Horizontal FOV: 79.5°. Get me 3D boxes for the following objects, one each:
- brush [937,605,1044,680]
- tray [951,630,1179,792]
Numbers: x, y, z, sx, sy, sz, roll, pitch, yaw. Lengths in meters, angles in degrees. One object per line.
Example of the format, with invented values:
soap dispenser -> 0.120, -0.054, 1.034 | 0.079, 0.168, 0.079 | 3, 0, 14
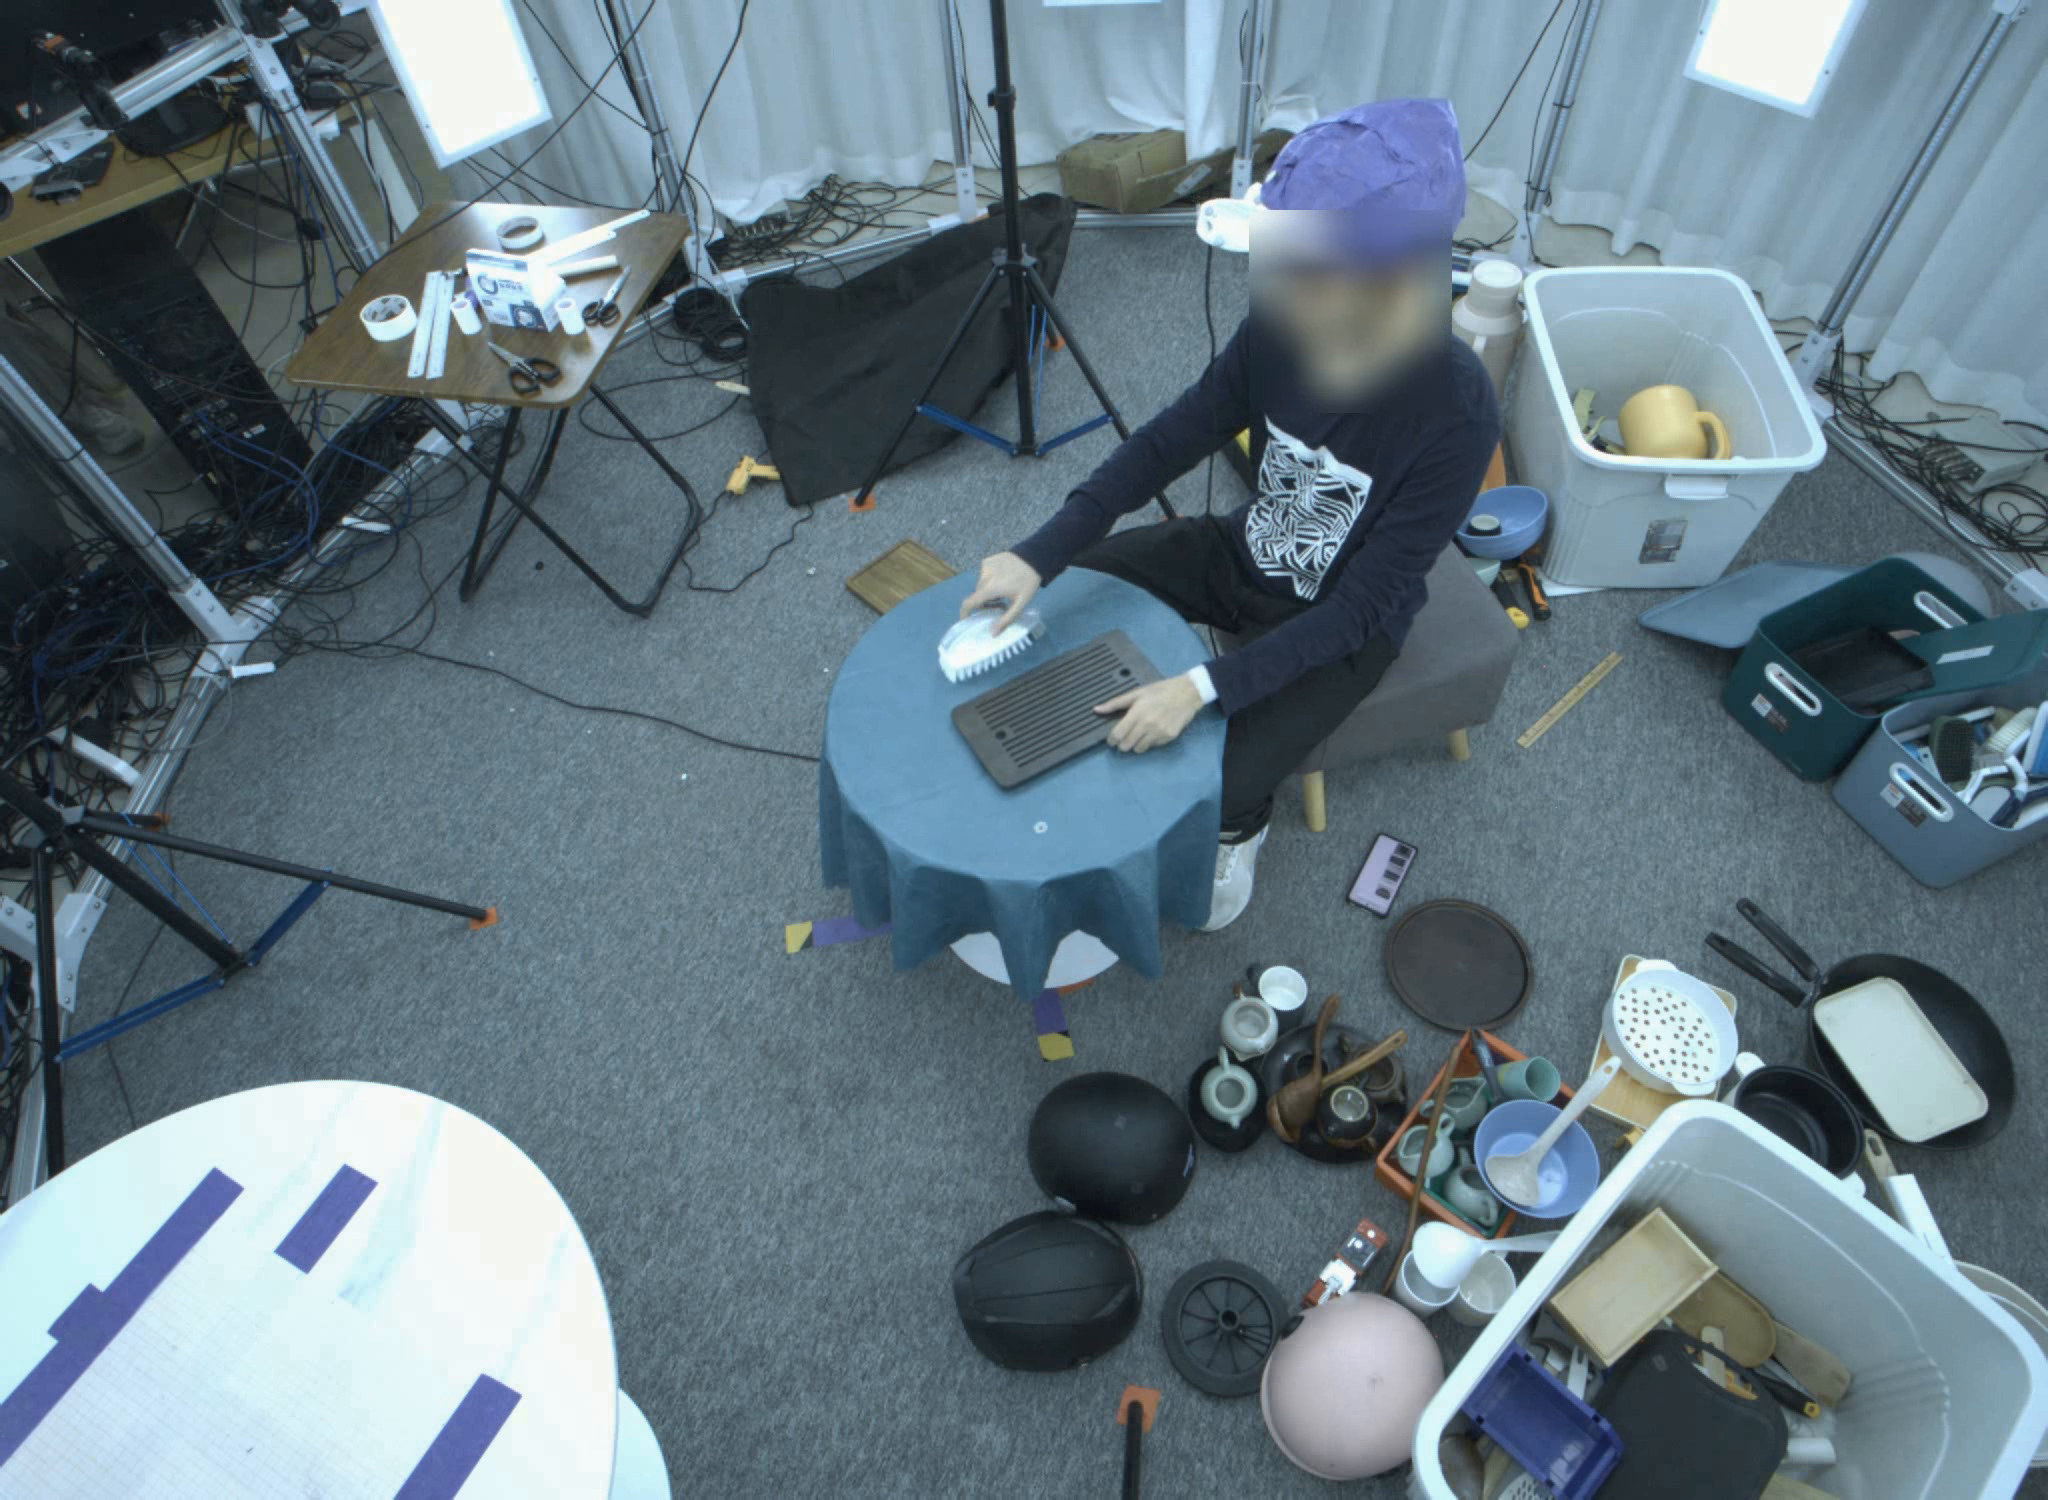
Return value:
brush -> -0.049, -0.179, 1.855 | 0.177, 0.095, 0.060 | -23, 53, -15
tray -> 0.061, -0.060, 1.810 | 0.308, 0.019, 0.167 | -27, 58, -16
